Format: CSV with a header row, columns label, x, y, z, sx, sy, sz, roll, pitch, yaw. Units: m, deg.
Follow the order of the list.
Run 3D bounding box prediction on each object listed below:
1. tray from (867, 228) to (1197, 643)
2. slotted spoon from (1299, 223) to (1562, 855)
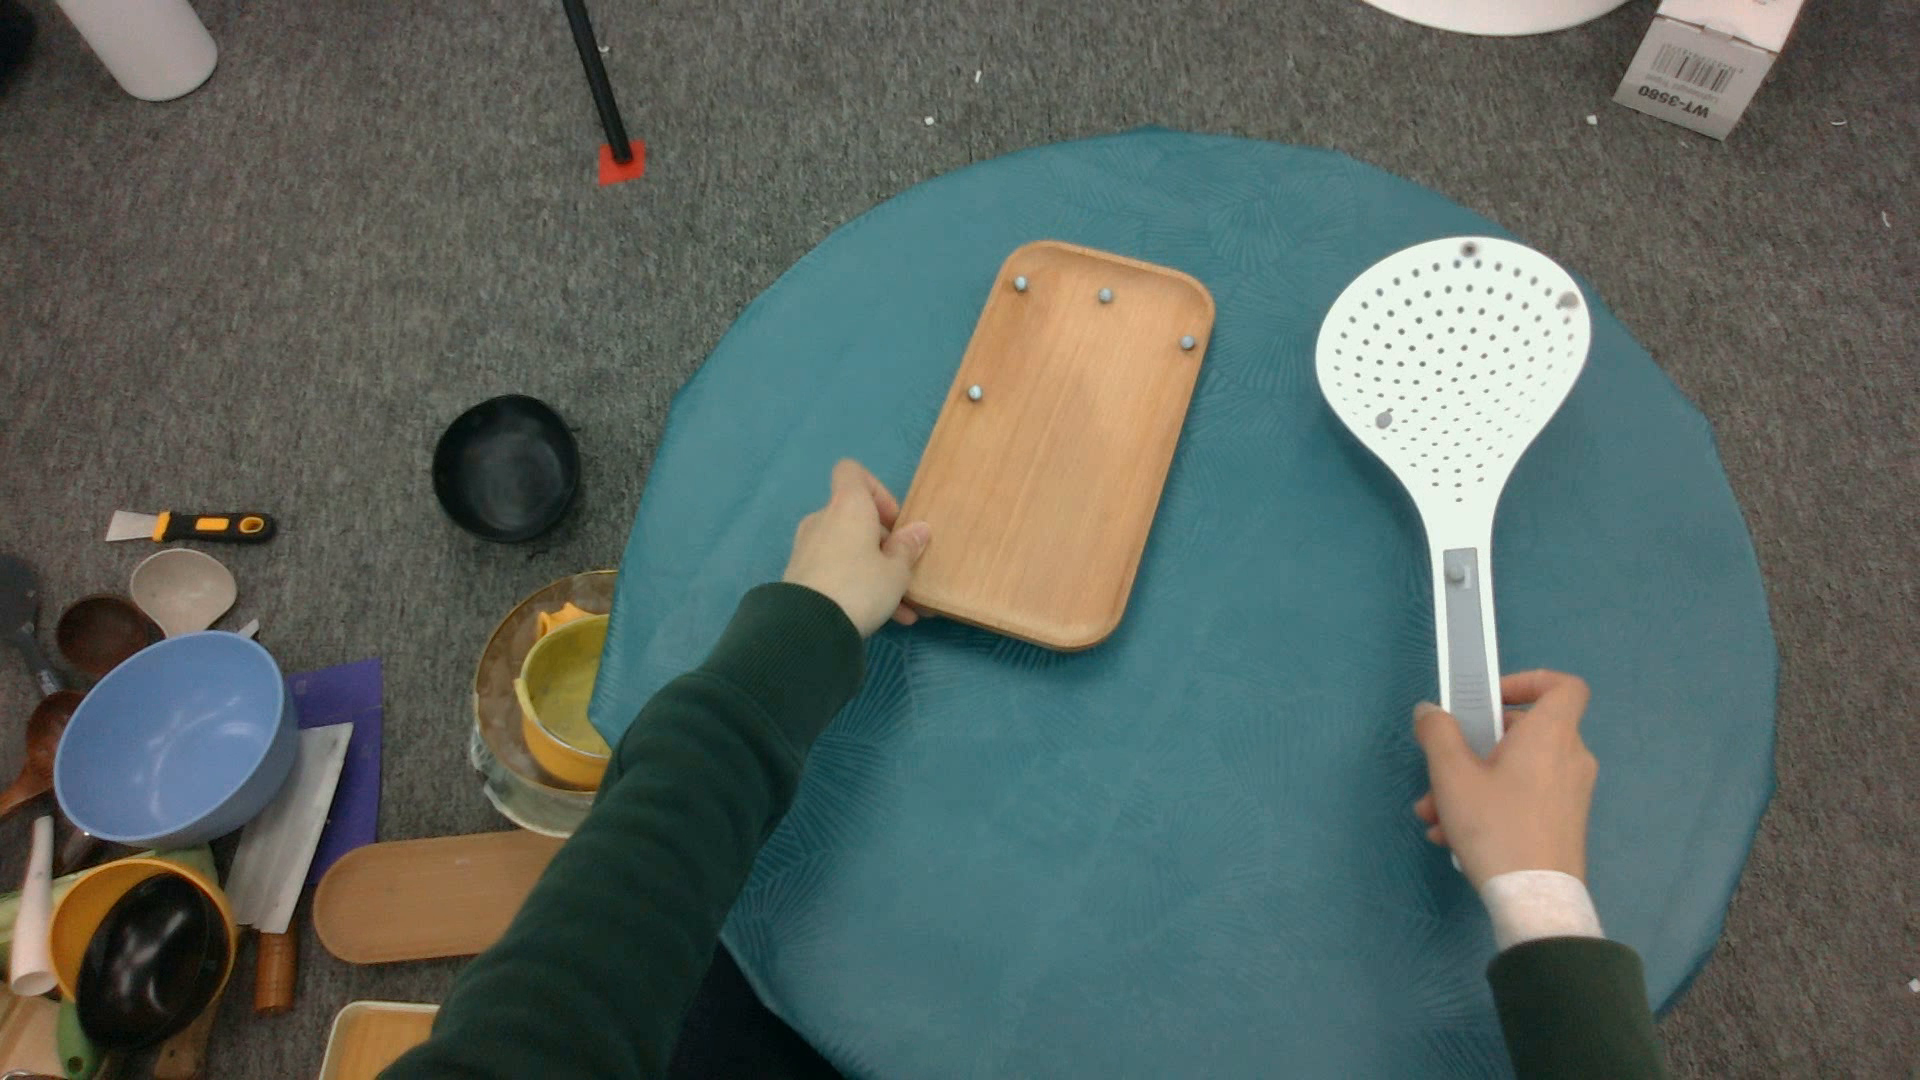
label,x,y,z,sx,sy,sz,roll,pitch,yaw
tray,0.044,-0.064,0.747,0.130,0.023,0.252,16,63,9
slotted spoon,0.243,-0.016,0.694,0.135,0.045,0.351,-8,55,25
